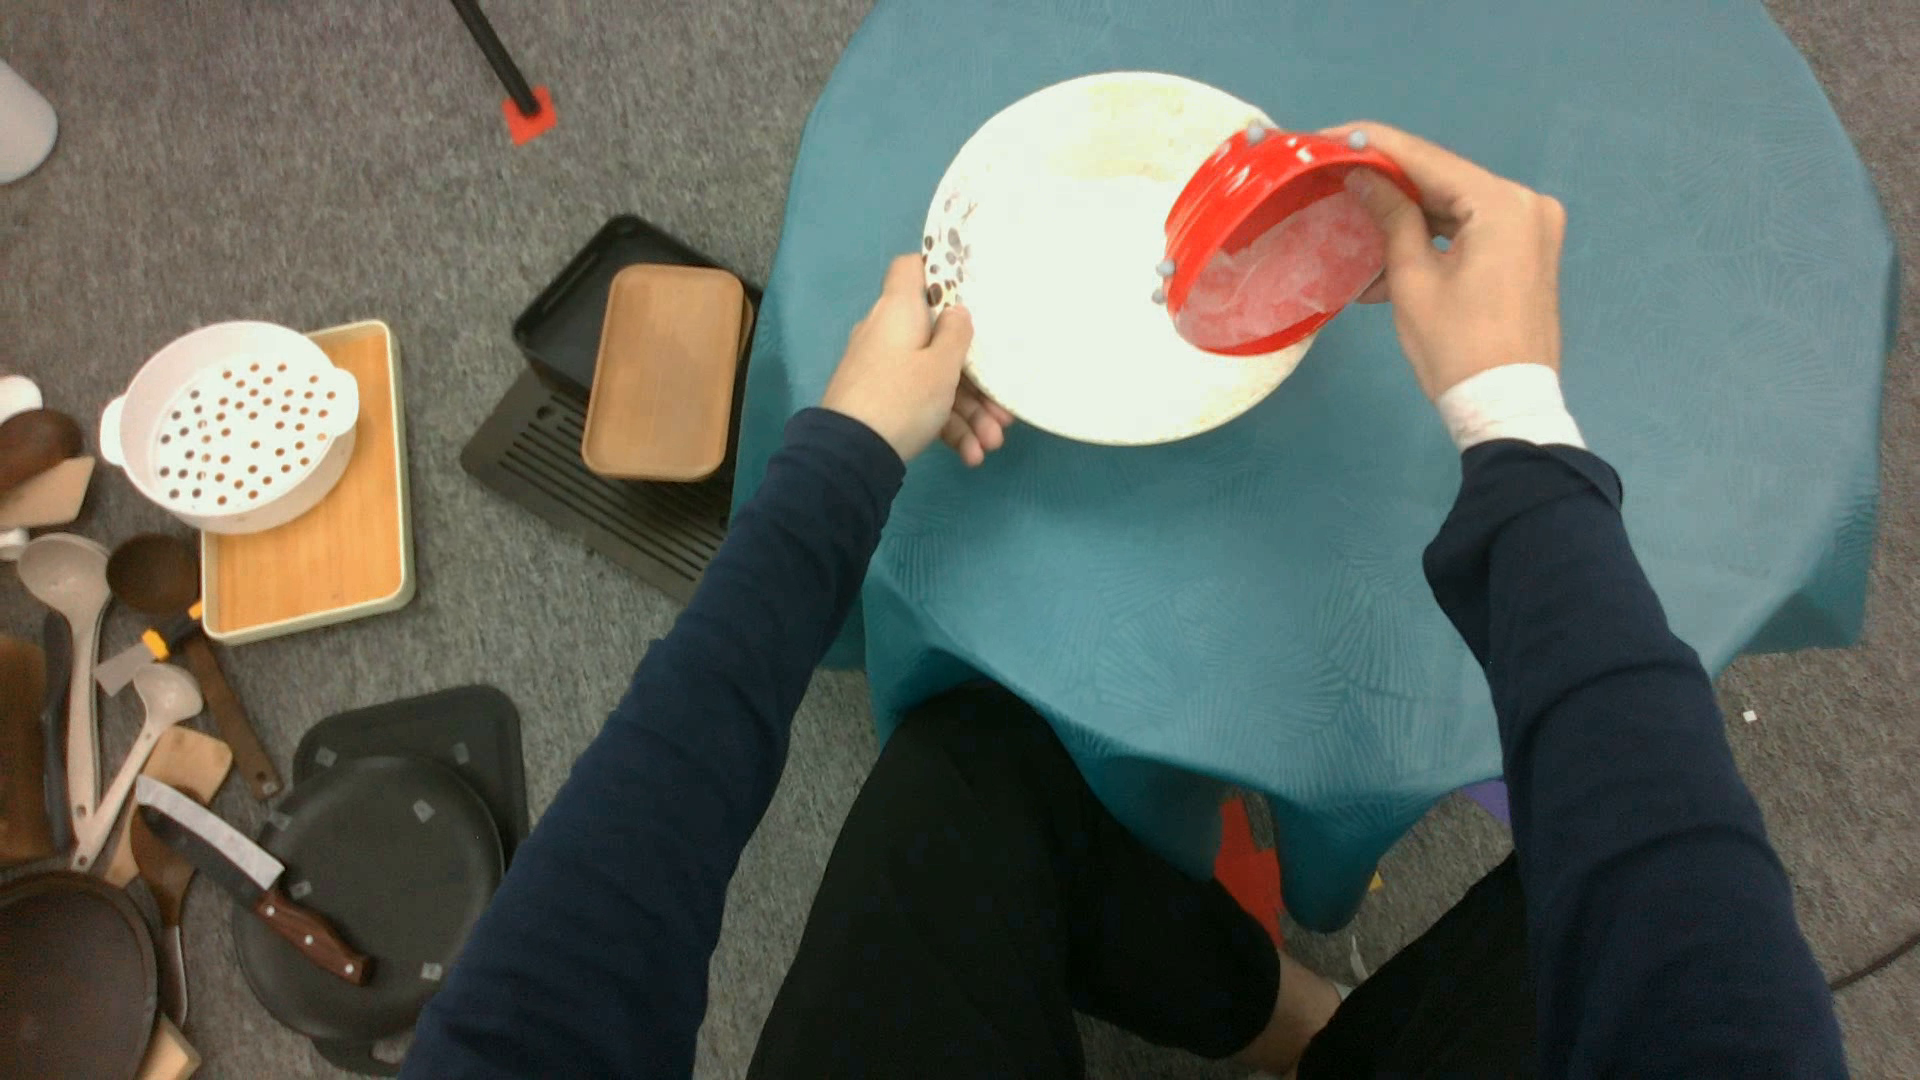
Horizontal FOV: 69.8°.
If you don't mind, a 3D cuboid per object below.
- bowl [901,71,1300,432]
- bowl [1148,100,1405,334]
[{"bbox_3d":[0.074,-0.137,0.719,0.204,0.078,0.204,-1,72,3],"label":"bowl"},{"bbox_3d":[0.131,-0.149,0.609,0.119,0.118,0.051,-23,58,-5],"label":"bowl"}]
